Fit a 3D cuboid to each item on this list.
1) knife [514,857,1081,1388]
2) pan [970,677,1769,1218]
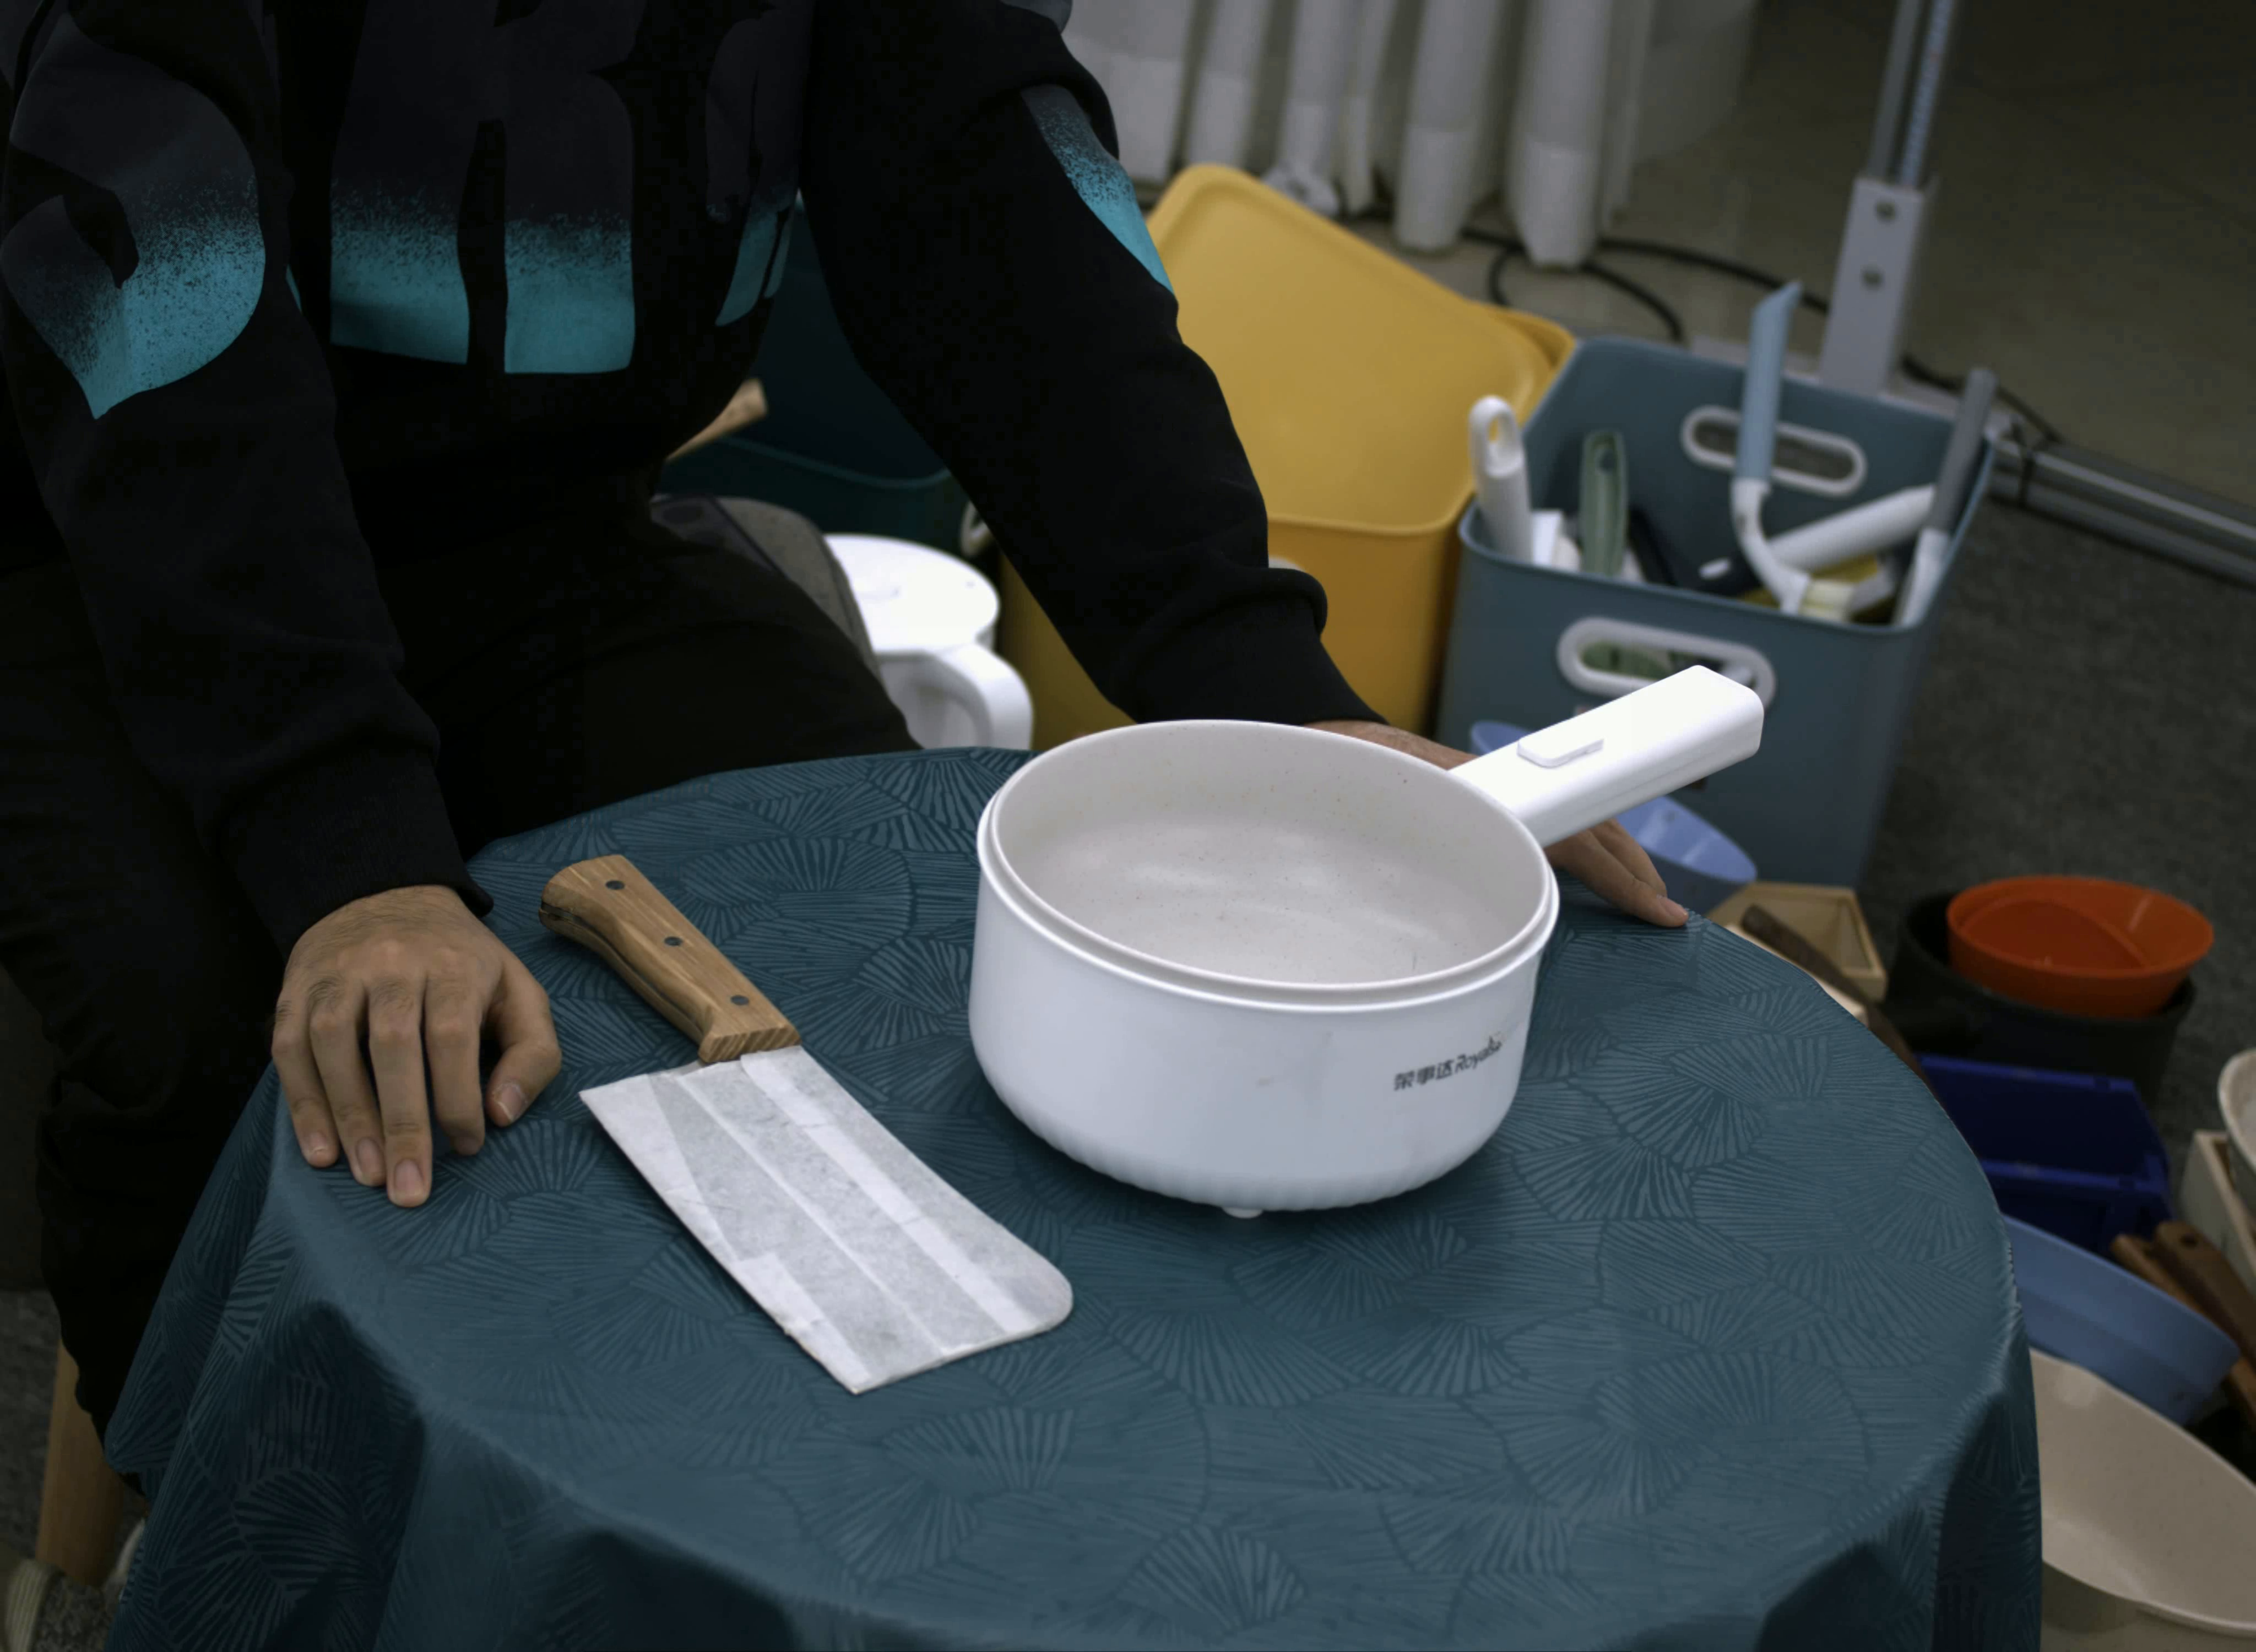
[{"bbox_3d":[-0.127,0.096,1.809,0.113,0.021,0.318,-10,34,-29],"label":"knife"},{"bbox_3d":[0.097,0.034,1.894,0.203,0.102,0.353,27,33,37],"label":"pan"}]
